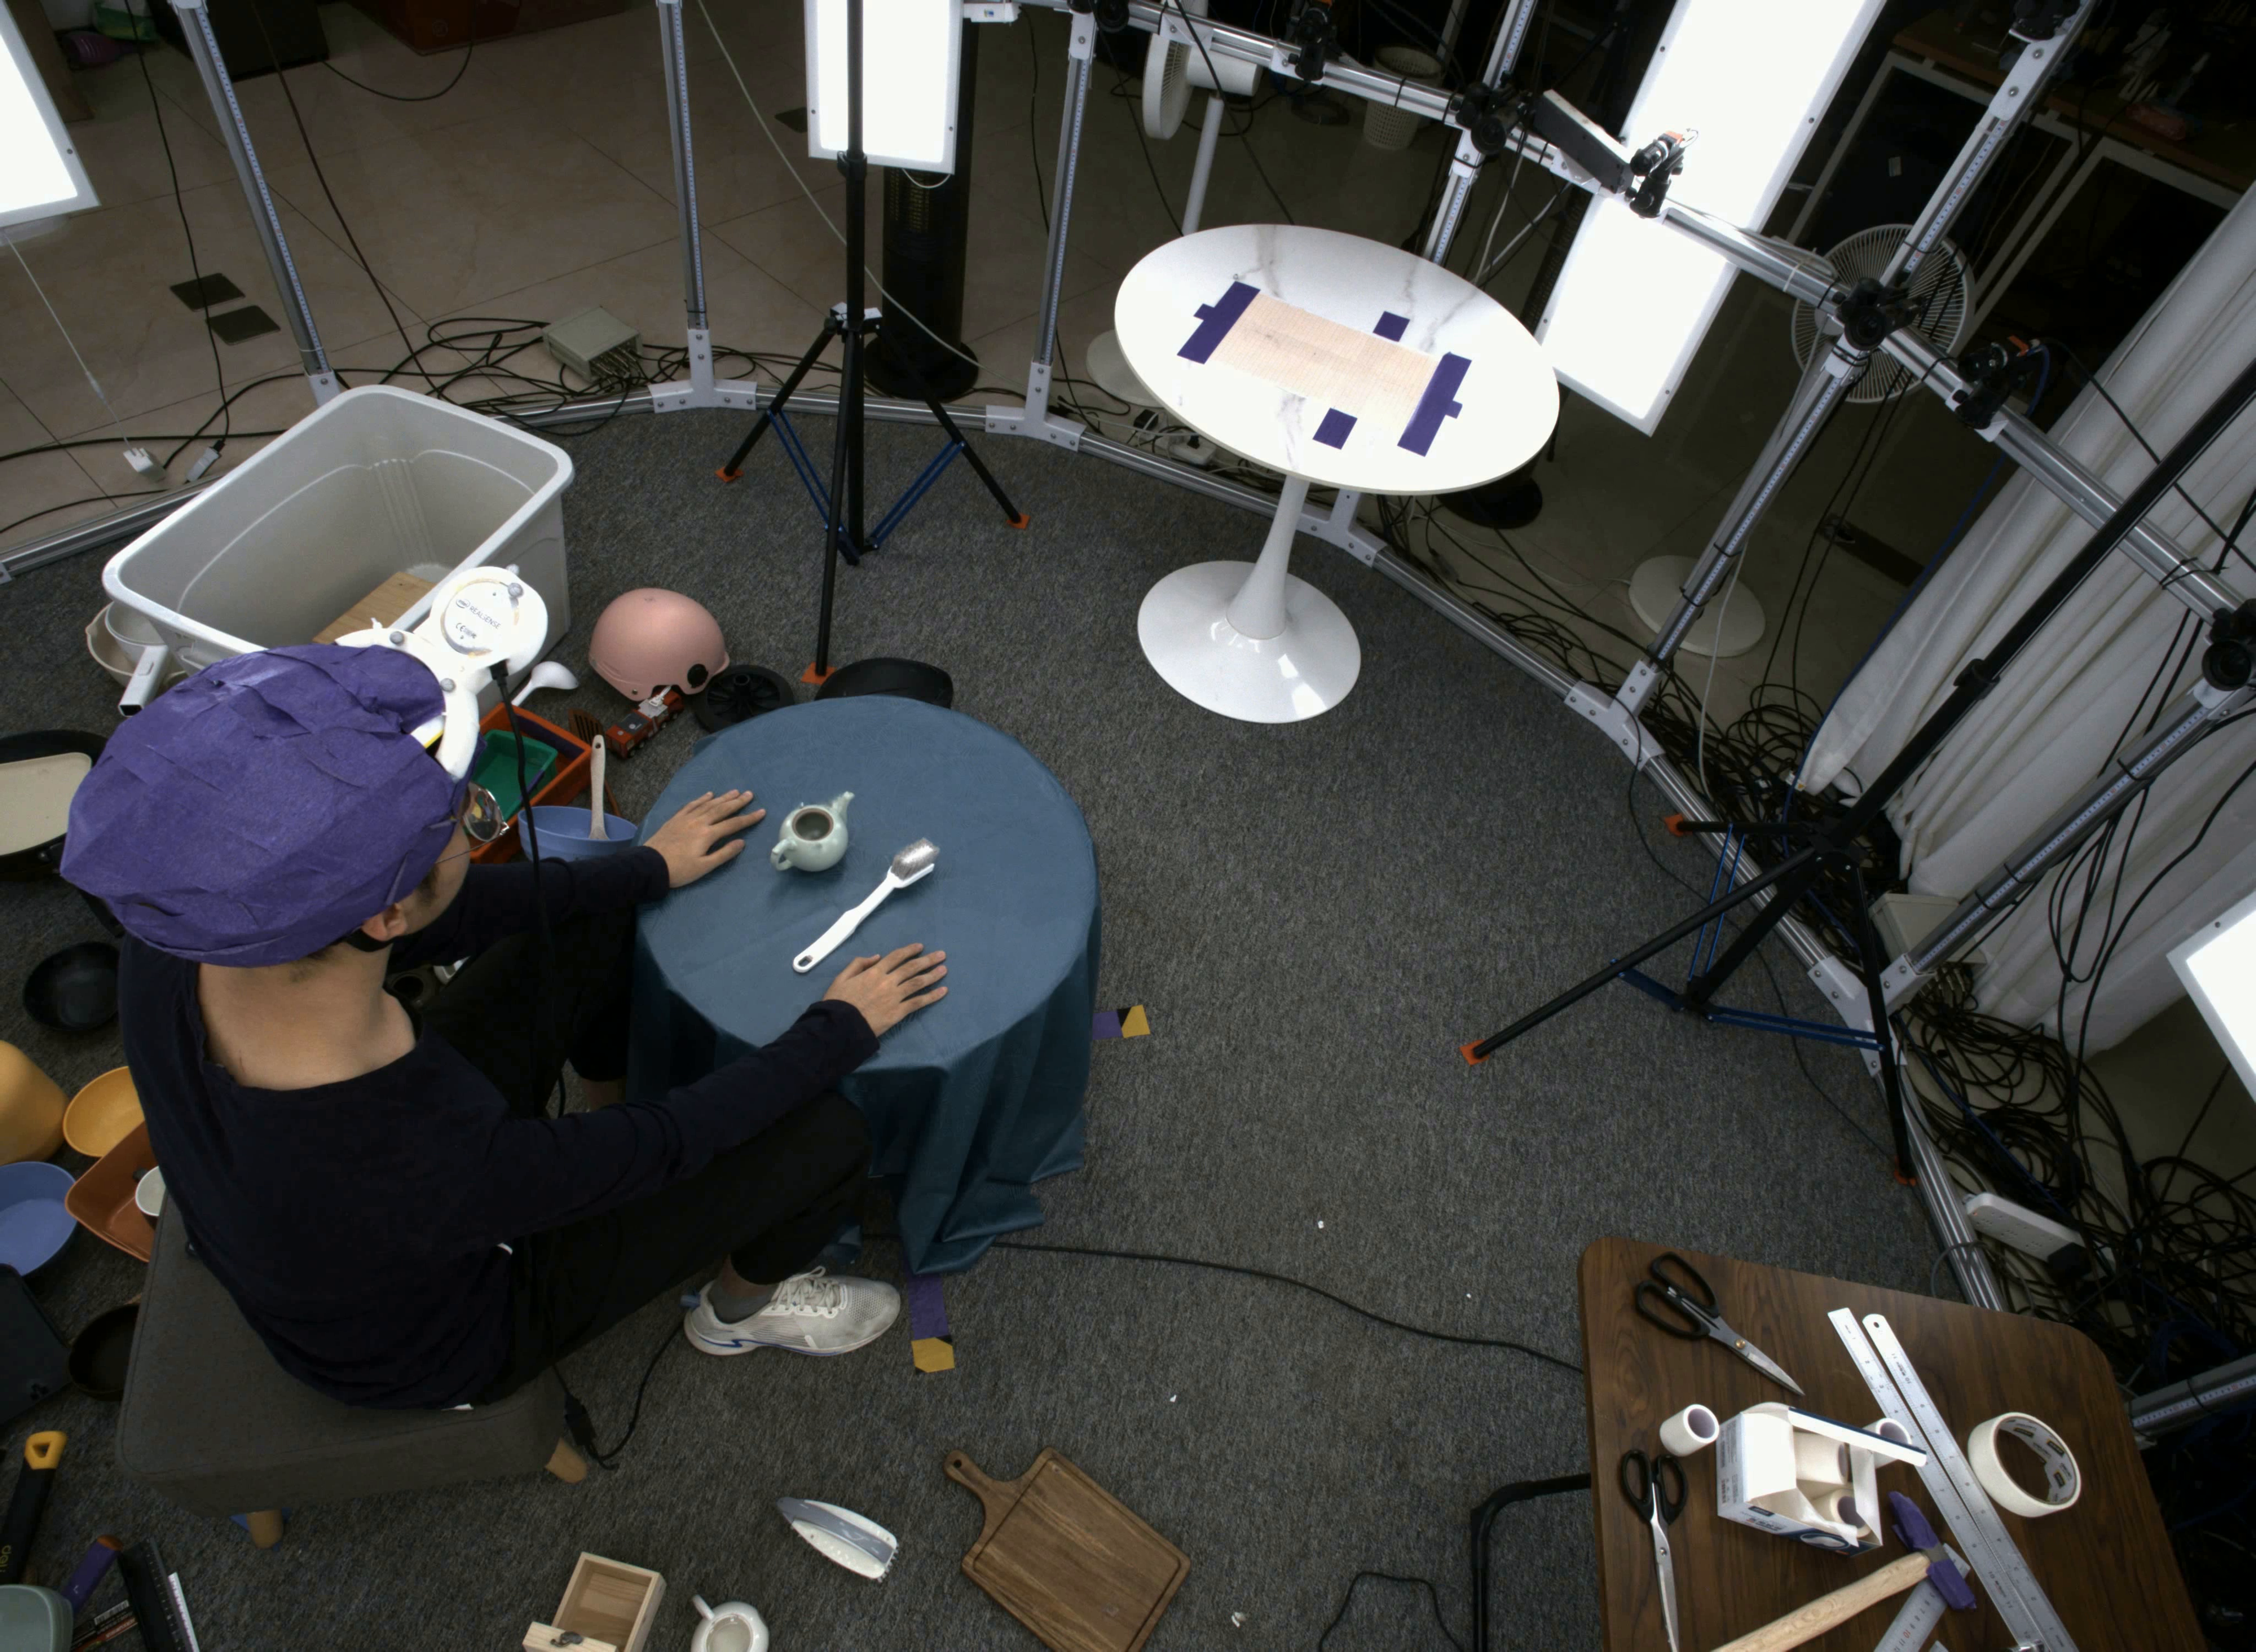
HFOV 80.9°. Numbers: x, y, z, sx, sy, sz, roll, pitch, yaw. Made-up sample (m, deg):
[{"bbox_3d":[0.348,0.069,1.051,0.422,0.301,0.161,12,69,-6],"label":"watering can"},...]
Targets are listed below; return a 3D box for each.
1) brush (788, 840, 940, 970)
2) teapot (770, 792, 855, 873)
[{"bbox_3d":[-0.334,0.095,1.647,0.034,0.051,0.244,41,55,14],"label":"brush"},{"bbox_3d":[-0.406,0.015,1.673,0.086,0.076,0.144,38,53,15],"label":"teapot"}]
